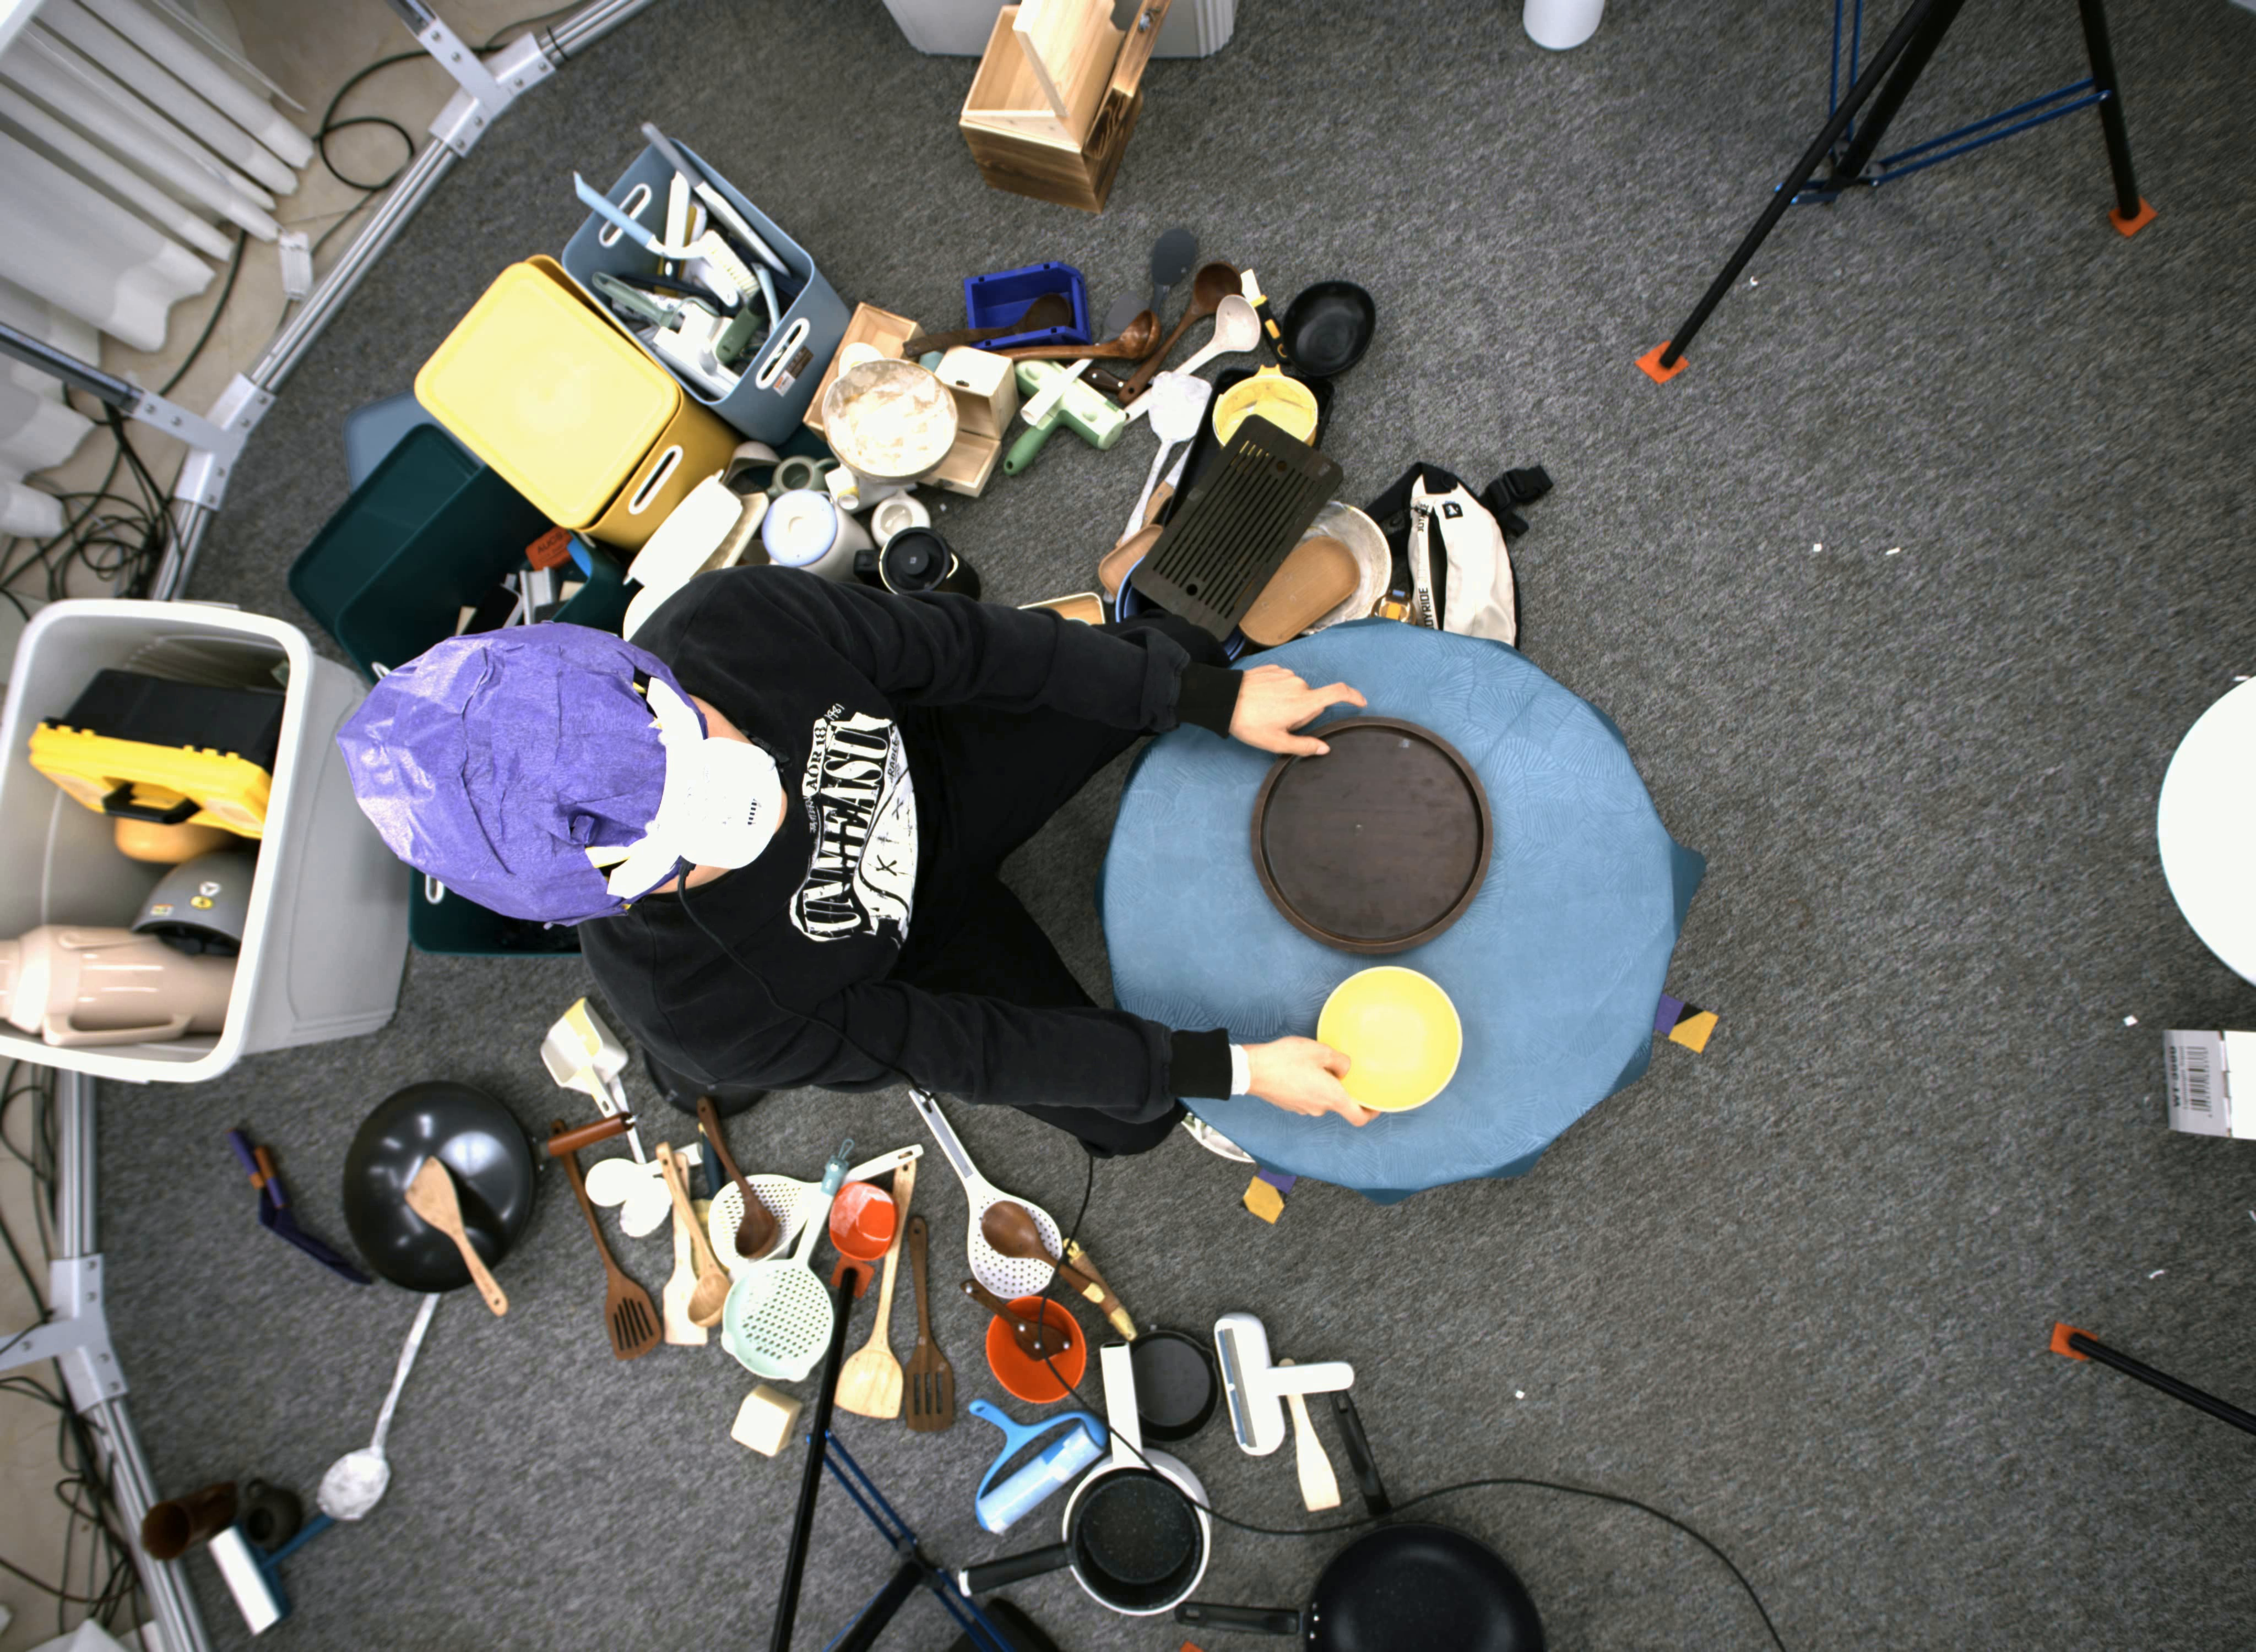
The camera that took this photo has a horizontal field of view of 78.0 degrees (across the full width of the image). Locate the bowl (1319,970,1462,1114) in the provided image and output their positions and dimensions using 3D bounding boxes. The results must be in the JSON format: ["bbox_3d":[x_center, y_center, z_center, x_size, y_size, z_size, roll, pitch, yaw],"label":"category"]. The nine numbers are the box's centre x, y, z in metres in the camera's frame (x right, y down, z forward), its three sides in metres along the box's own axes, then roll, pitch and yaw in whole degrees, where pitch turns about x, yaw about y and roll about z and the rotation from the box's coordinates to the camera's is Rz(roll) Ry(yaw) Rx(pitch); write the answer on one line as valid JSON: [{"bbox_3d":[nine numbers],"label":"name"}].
[{"bbox_3d":[0.272,0.220,1.426,0.146,0.060,0.144,-2,84,13],"label":"bowl"}]

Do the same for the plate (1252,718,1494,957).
[{"bbox_3d":[0.258,0.010,1.460,0.256,0.029,0.254,-1,88,11],"label":"plate"}]
